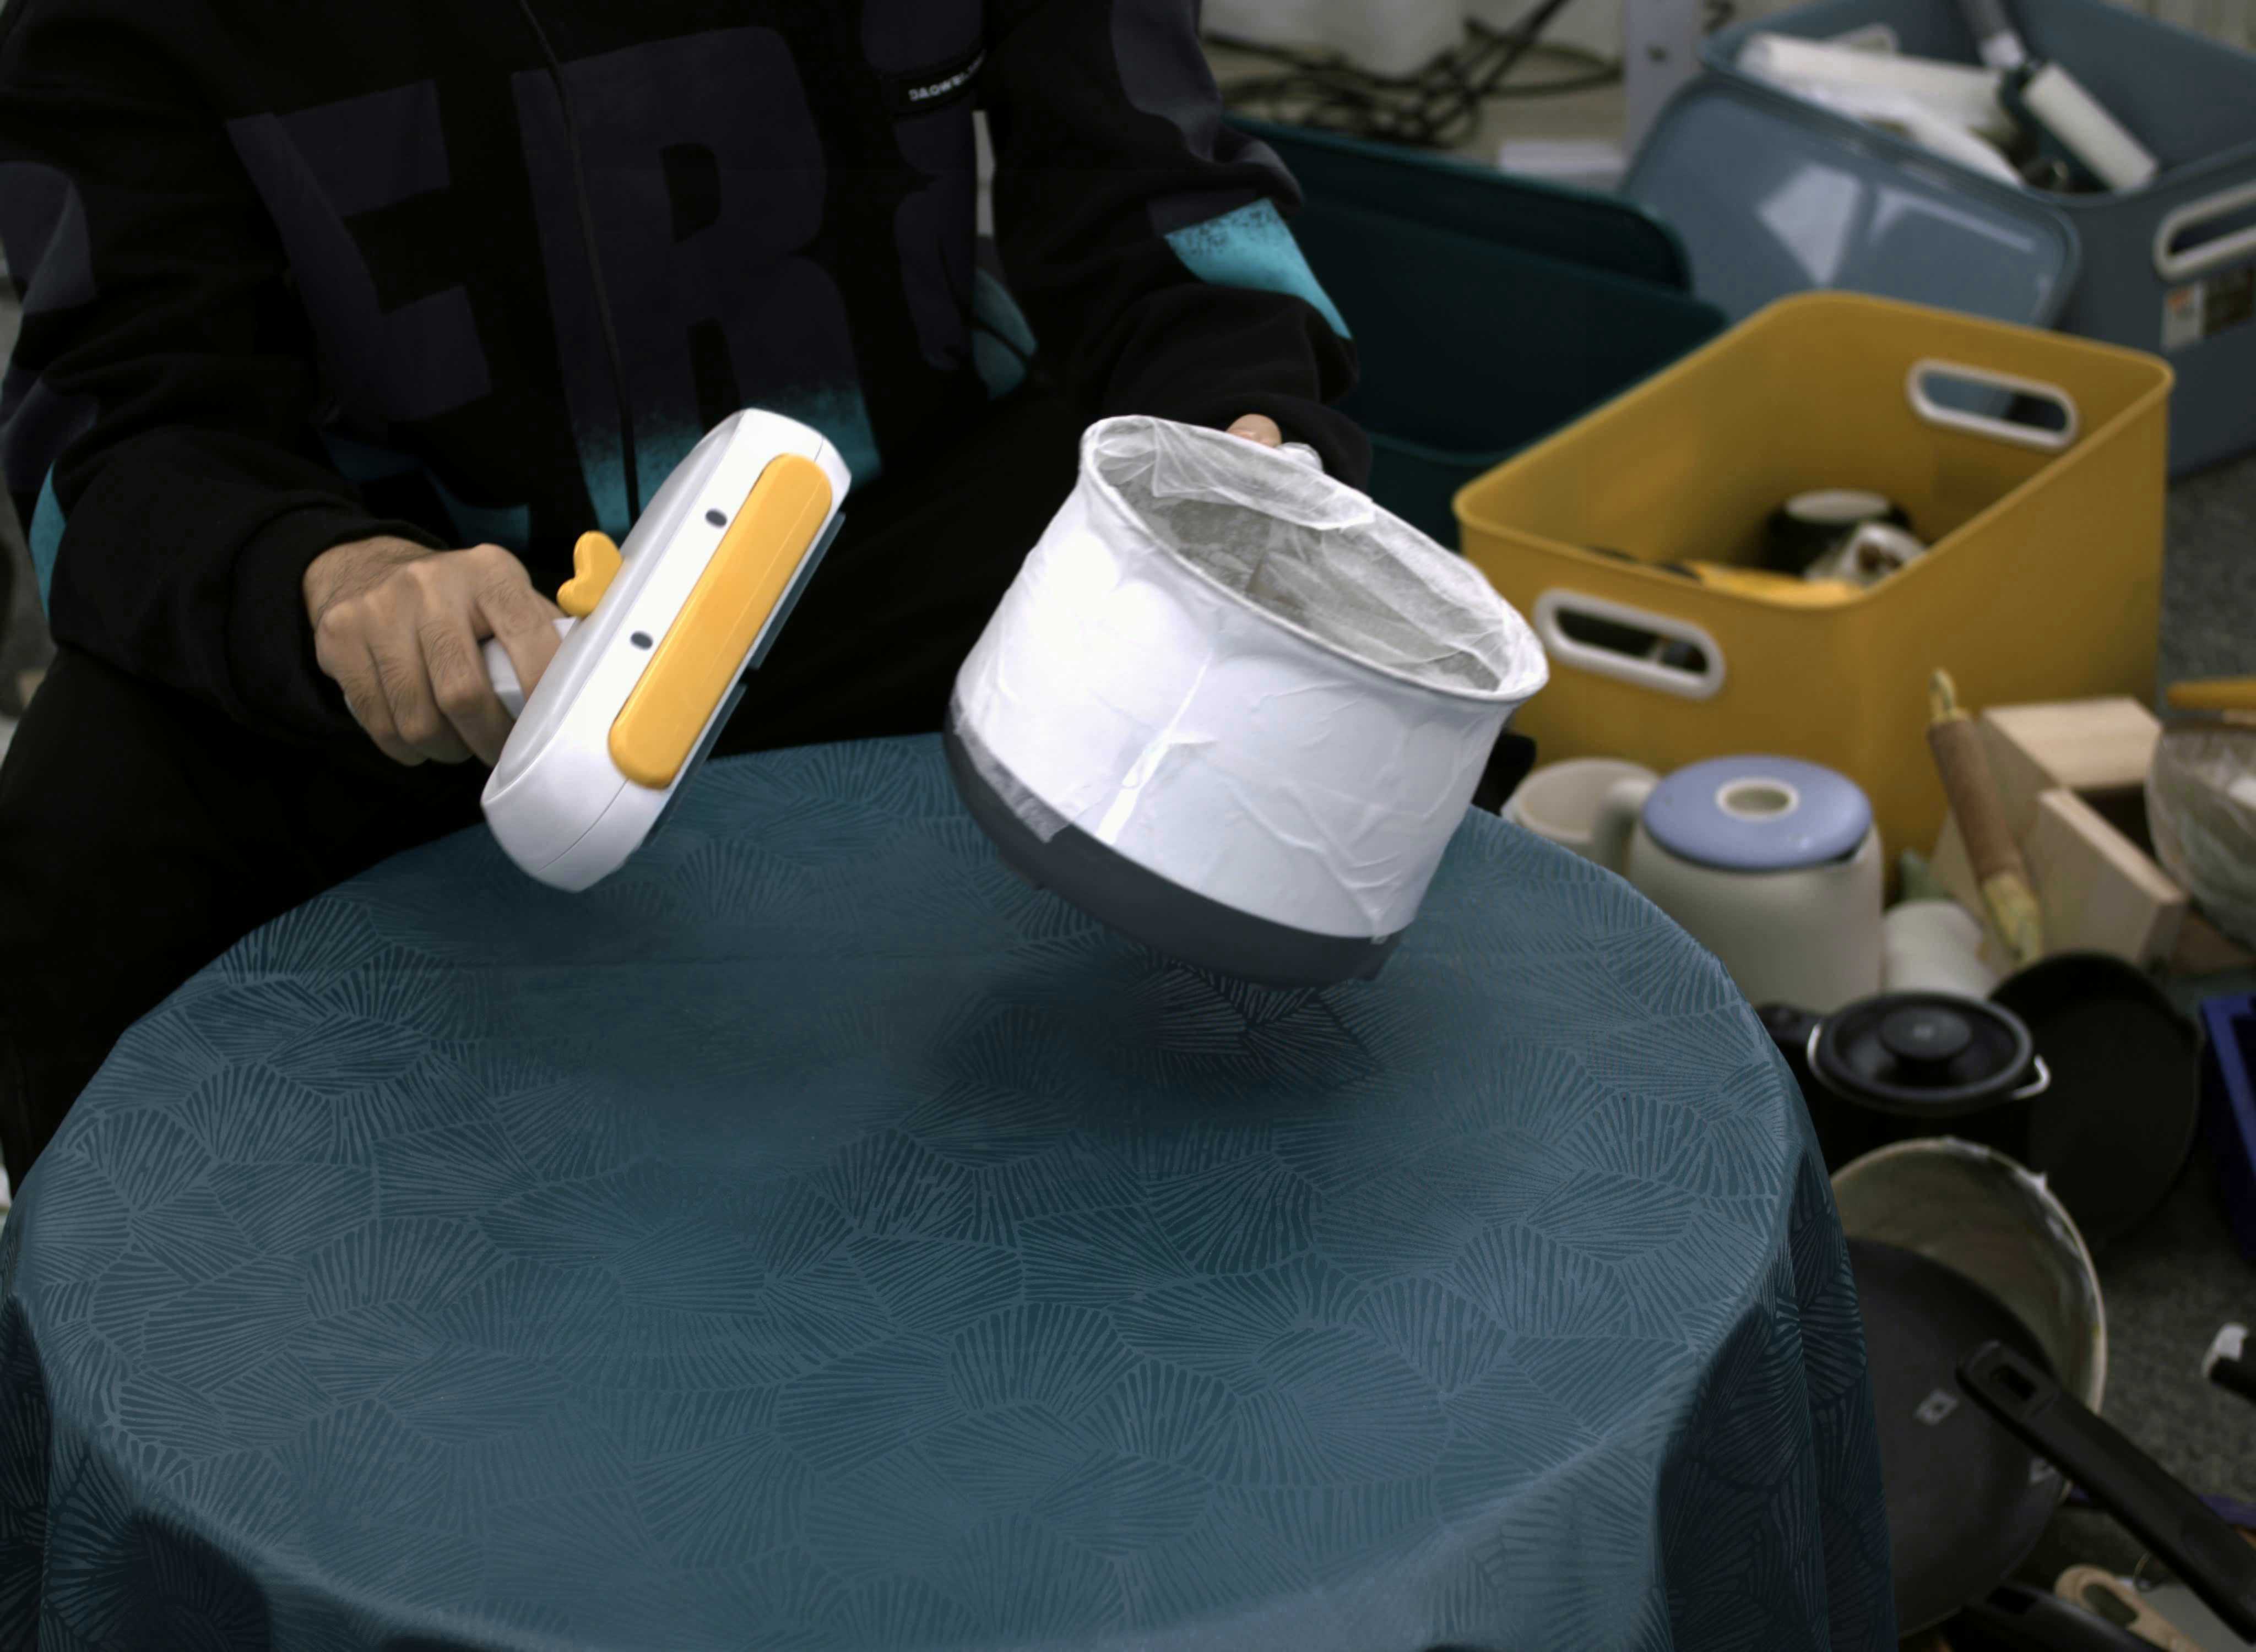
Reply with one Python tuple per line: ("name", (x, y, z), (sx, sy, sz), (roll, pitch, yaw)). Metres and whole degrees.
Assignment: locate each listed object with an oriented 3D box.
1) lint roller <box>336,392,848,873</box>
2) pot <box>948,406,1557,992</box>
("lint roller", (-0.197, -0.055, 1.938), (0.189, 0.074, 0.197), (-22, 36, 44))
("pot", (0.036, -0.051, 1.932), (0.178, 0.135, 0.237), (26, 20, -12))
